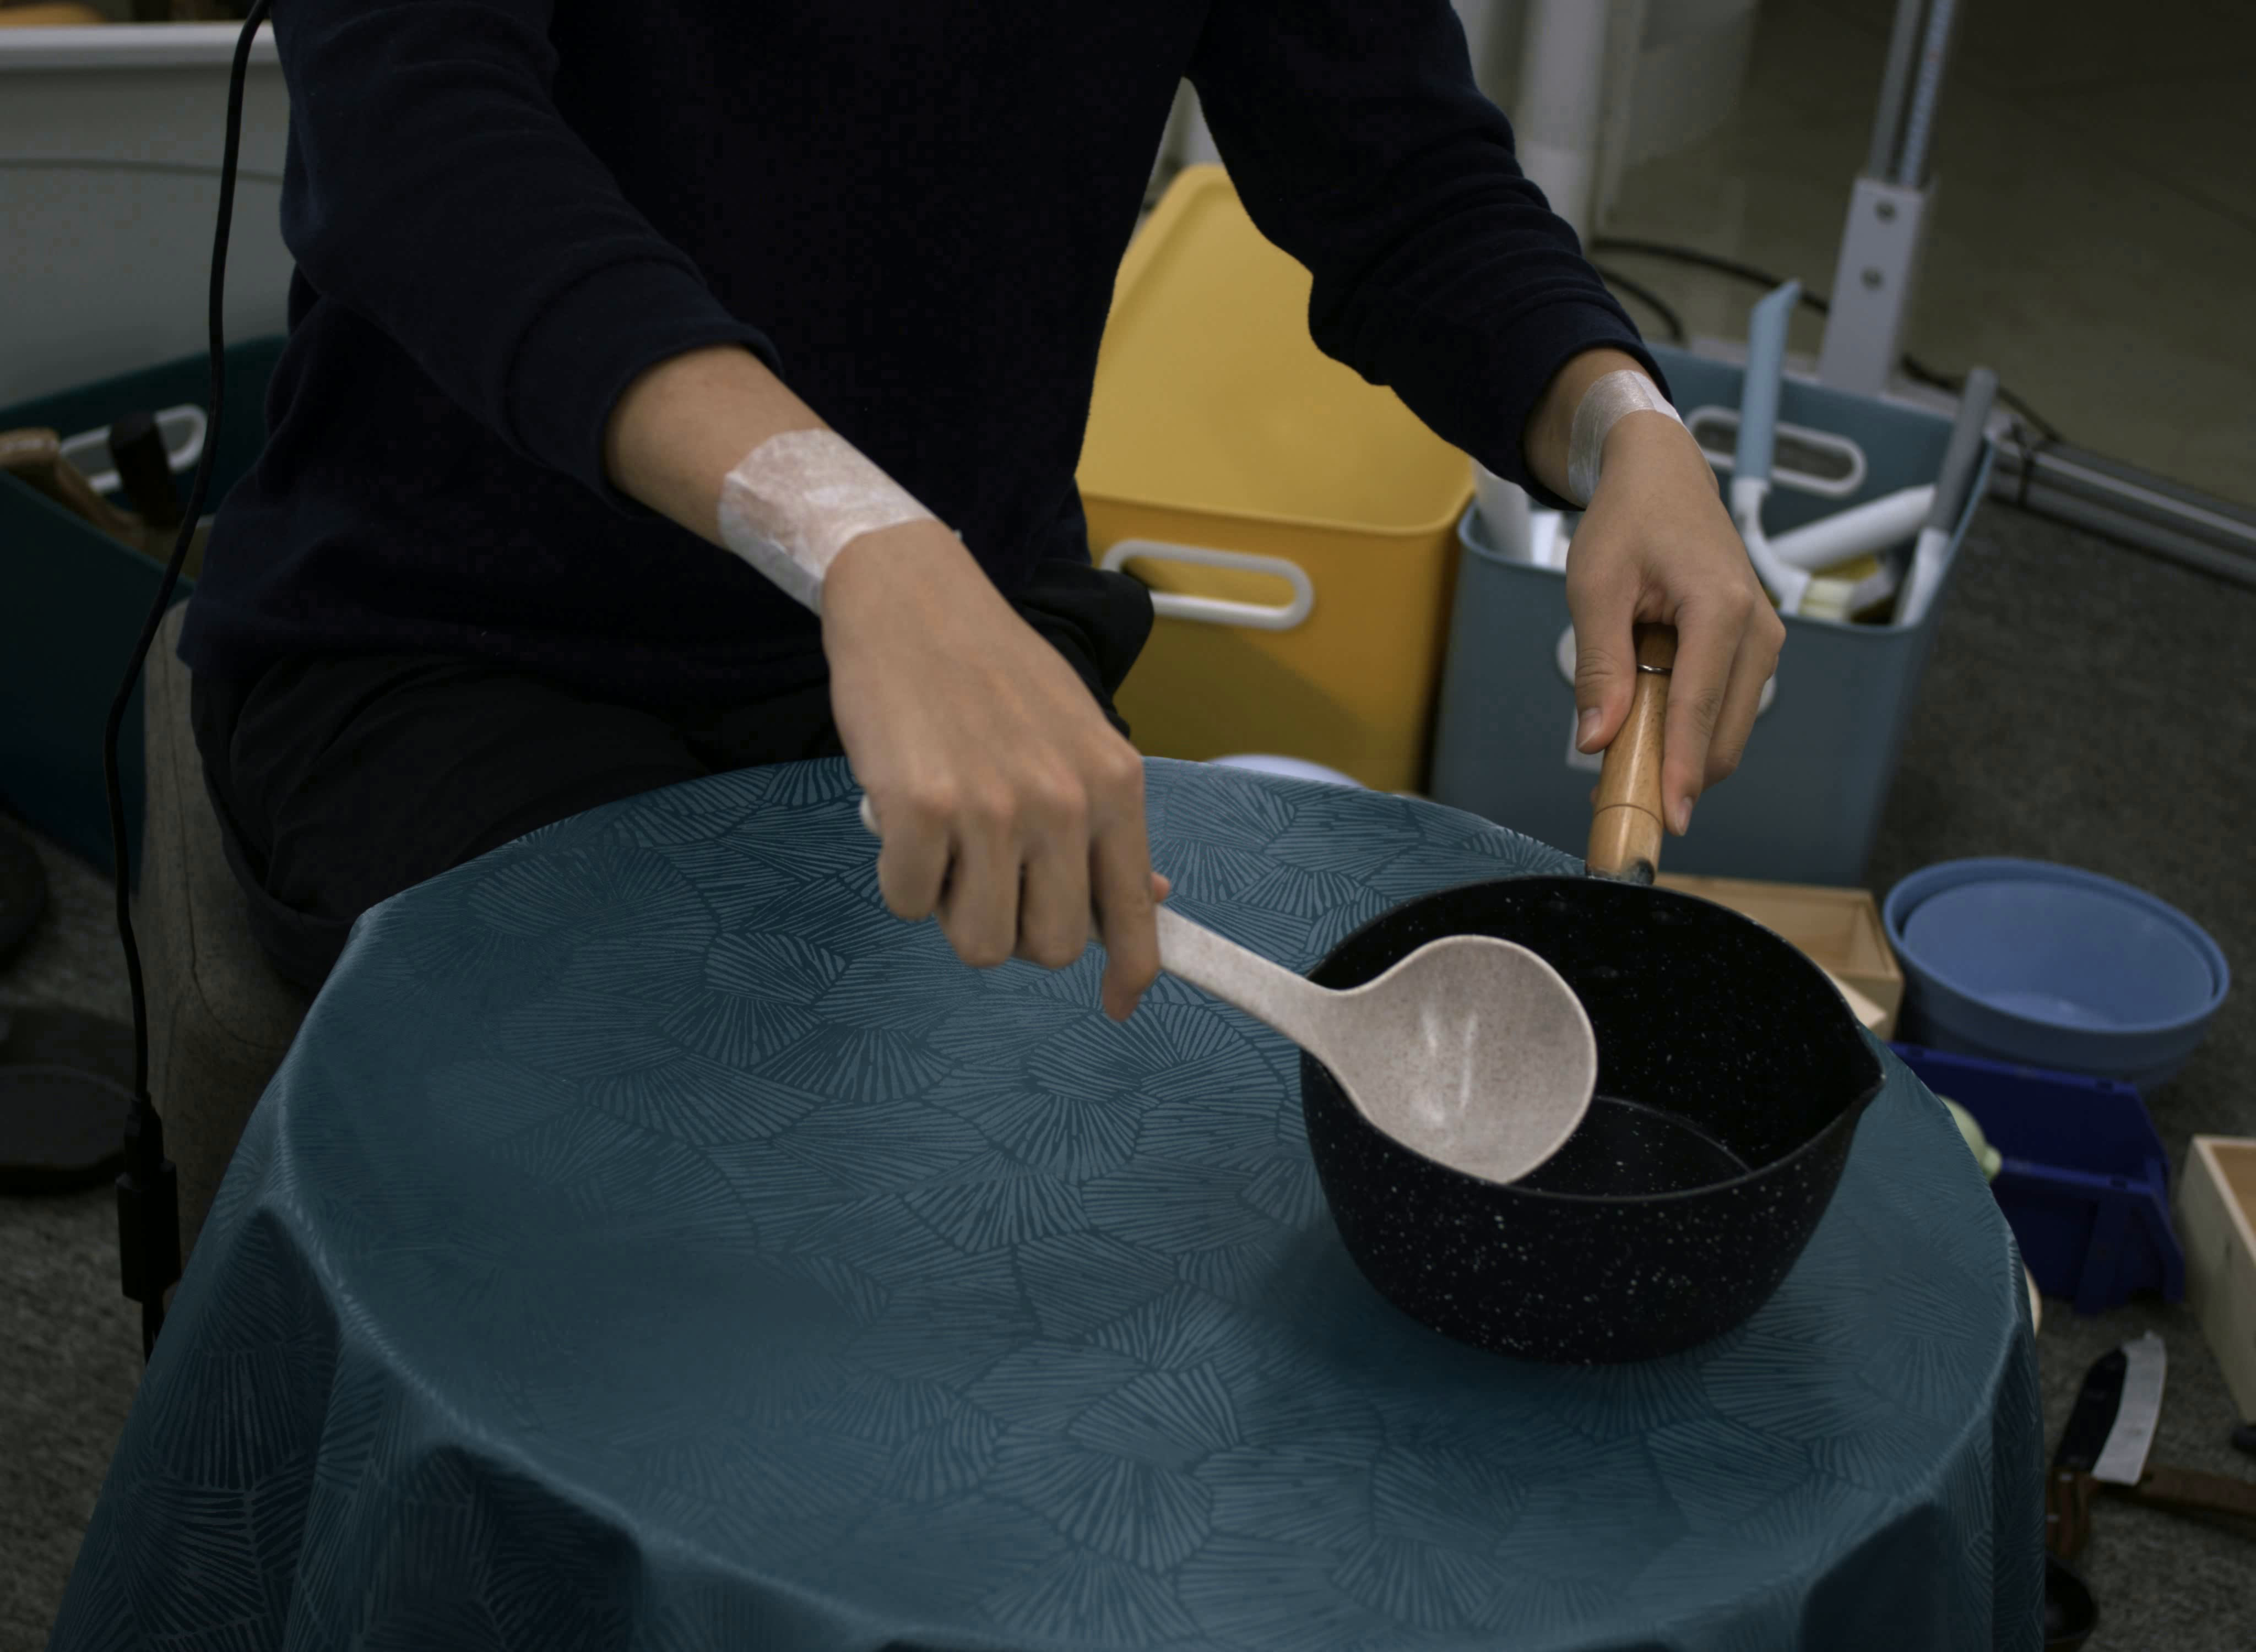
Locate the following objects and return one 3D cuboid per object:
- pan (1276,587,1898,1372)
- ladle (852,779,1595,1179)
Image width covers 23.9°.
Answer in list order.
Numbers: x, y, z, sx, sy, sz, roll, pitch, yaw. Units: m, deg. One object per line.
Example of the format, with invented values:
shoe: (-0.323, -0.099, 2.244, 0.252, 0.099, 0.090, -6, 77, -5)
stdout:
pan: (0.161, 0.049, 1.828, 0.207, 0.108, 0.344, 6, 35, 8)
ladle: (0.035, 0.038, 1.654, 0.272, 0.090, 0.069, 28, -23, -39)
